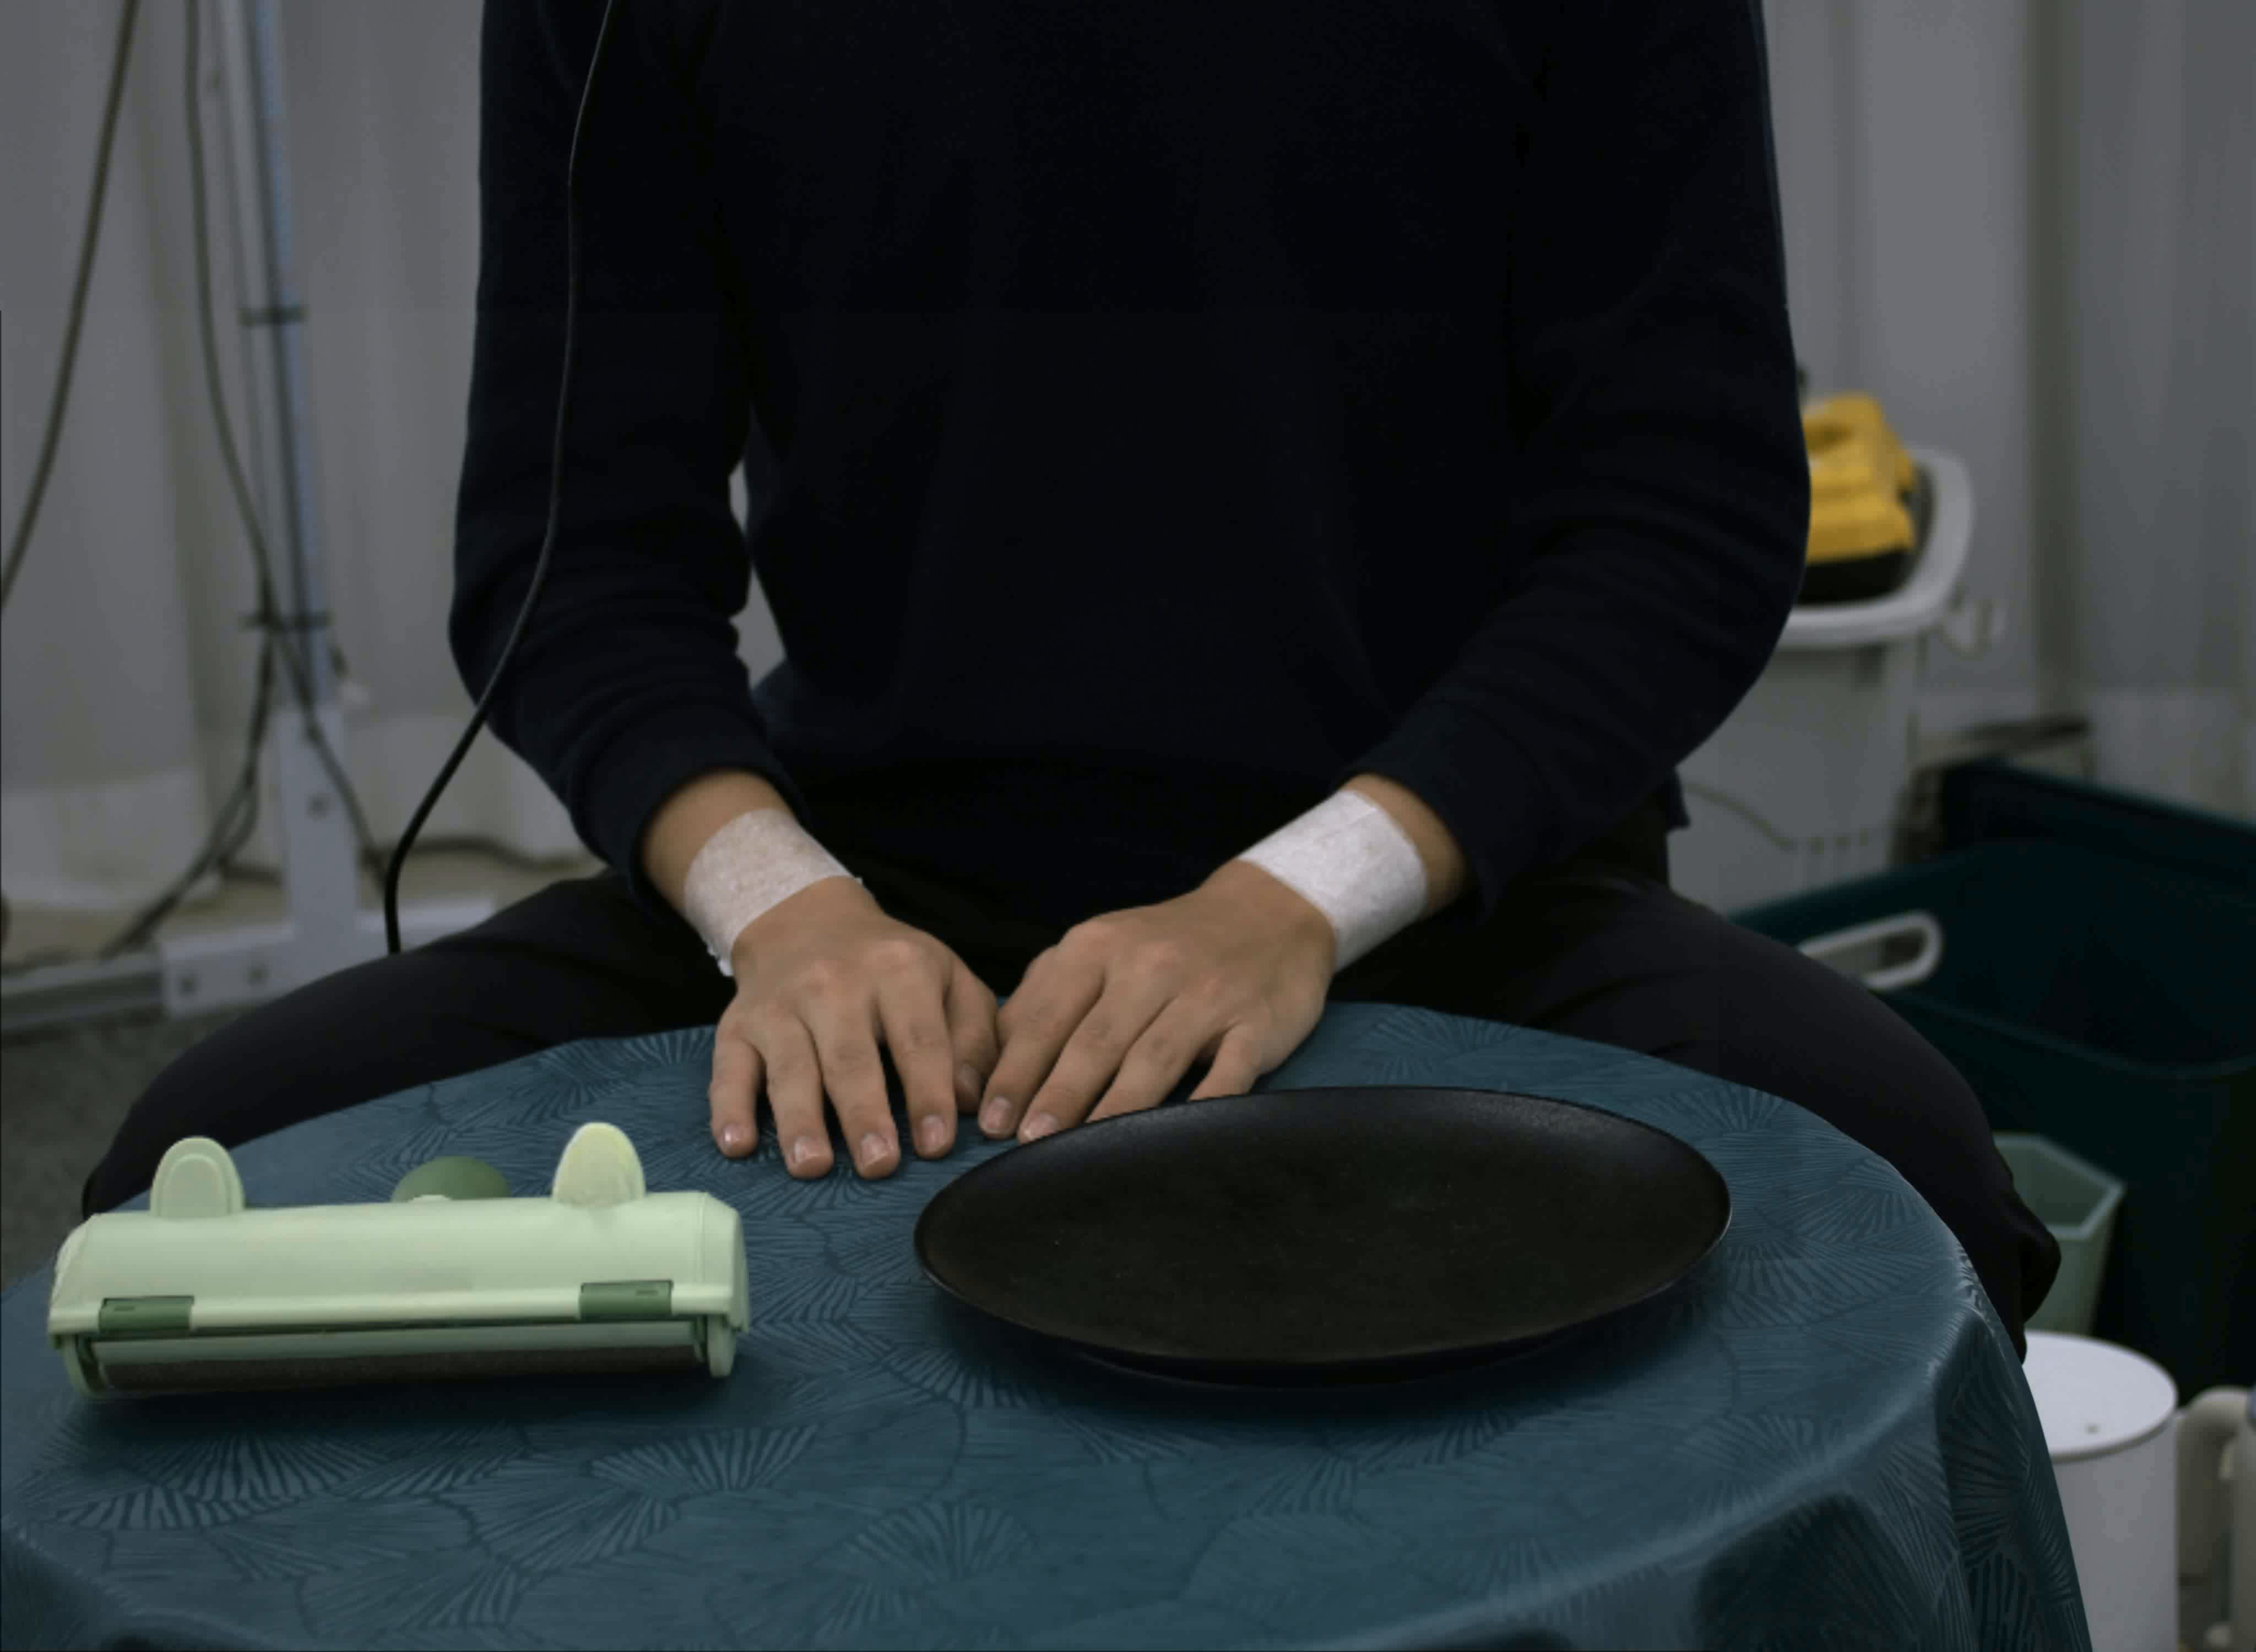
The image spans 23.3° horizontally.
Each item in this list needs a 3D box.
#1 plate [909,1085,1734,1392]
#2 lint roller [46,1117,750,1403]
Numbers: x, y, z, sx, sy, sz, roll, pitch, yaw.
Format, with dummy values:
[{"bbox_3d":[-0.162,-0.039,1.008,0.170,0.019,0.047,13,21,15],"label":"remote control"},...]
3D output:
[{"bbox_3d":[0.058,0.125,1.620,0.243,0.023,0.246,-3,15,0],"label":"plate"},{"bbox_3d":[-0.209,0.107,1.620,0.198,0.081,0.185,-2,21,0],"label":"lint roller"}]
